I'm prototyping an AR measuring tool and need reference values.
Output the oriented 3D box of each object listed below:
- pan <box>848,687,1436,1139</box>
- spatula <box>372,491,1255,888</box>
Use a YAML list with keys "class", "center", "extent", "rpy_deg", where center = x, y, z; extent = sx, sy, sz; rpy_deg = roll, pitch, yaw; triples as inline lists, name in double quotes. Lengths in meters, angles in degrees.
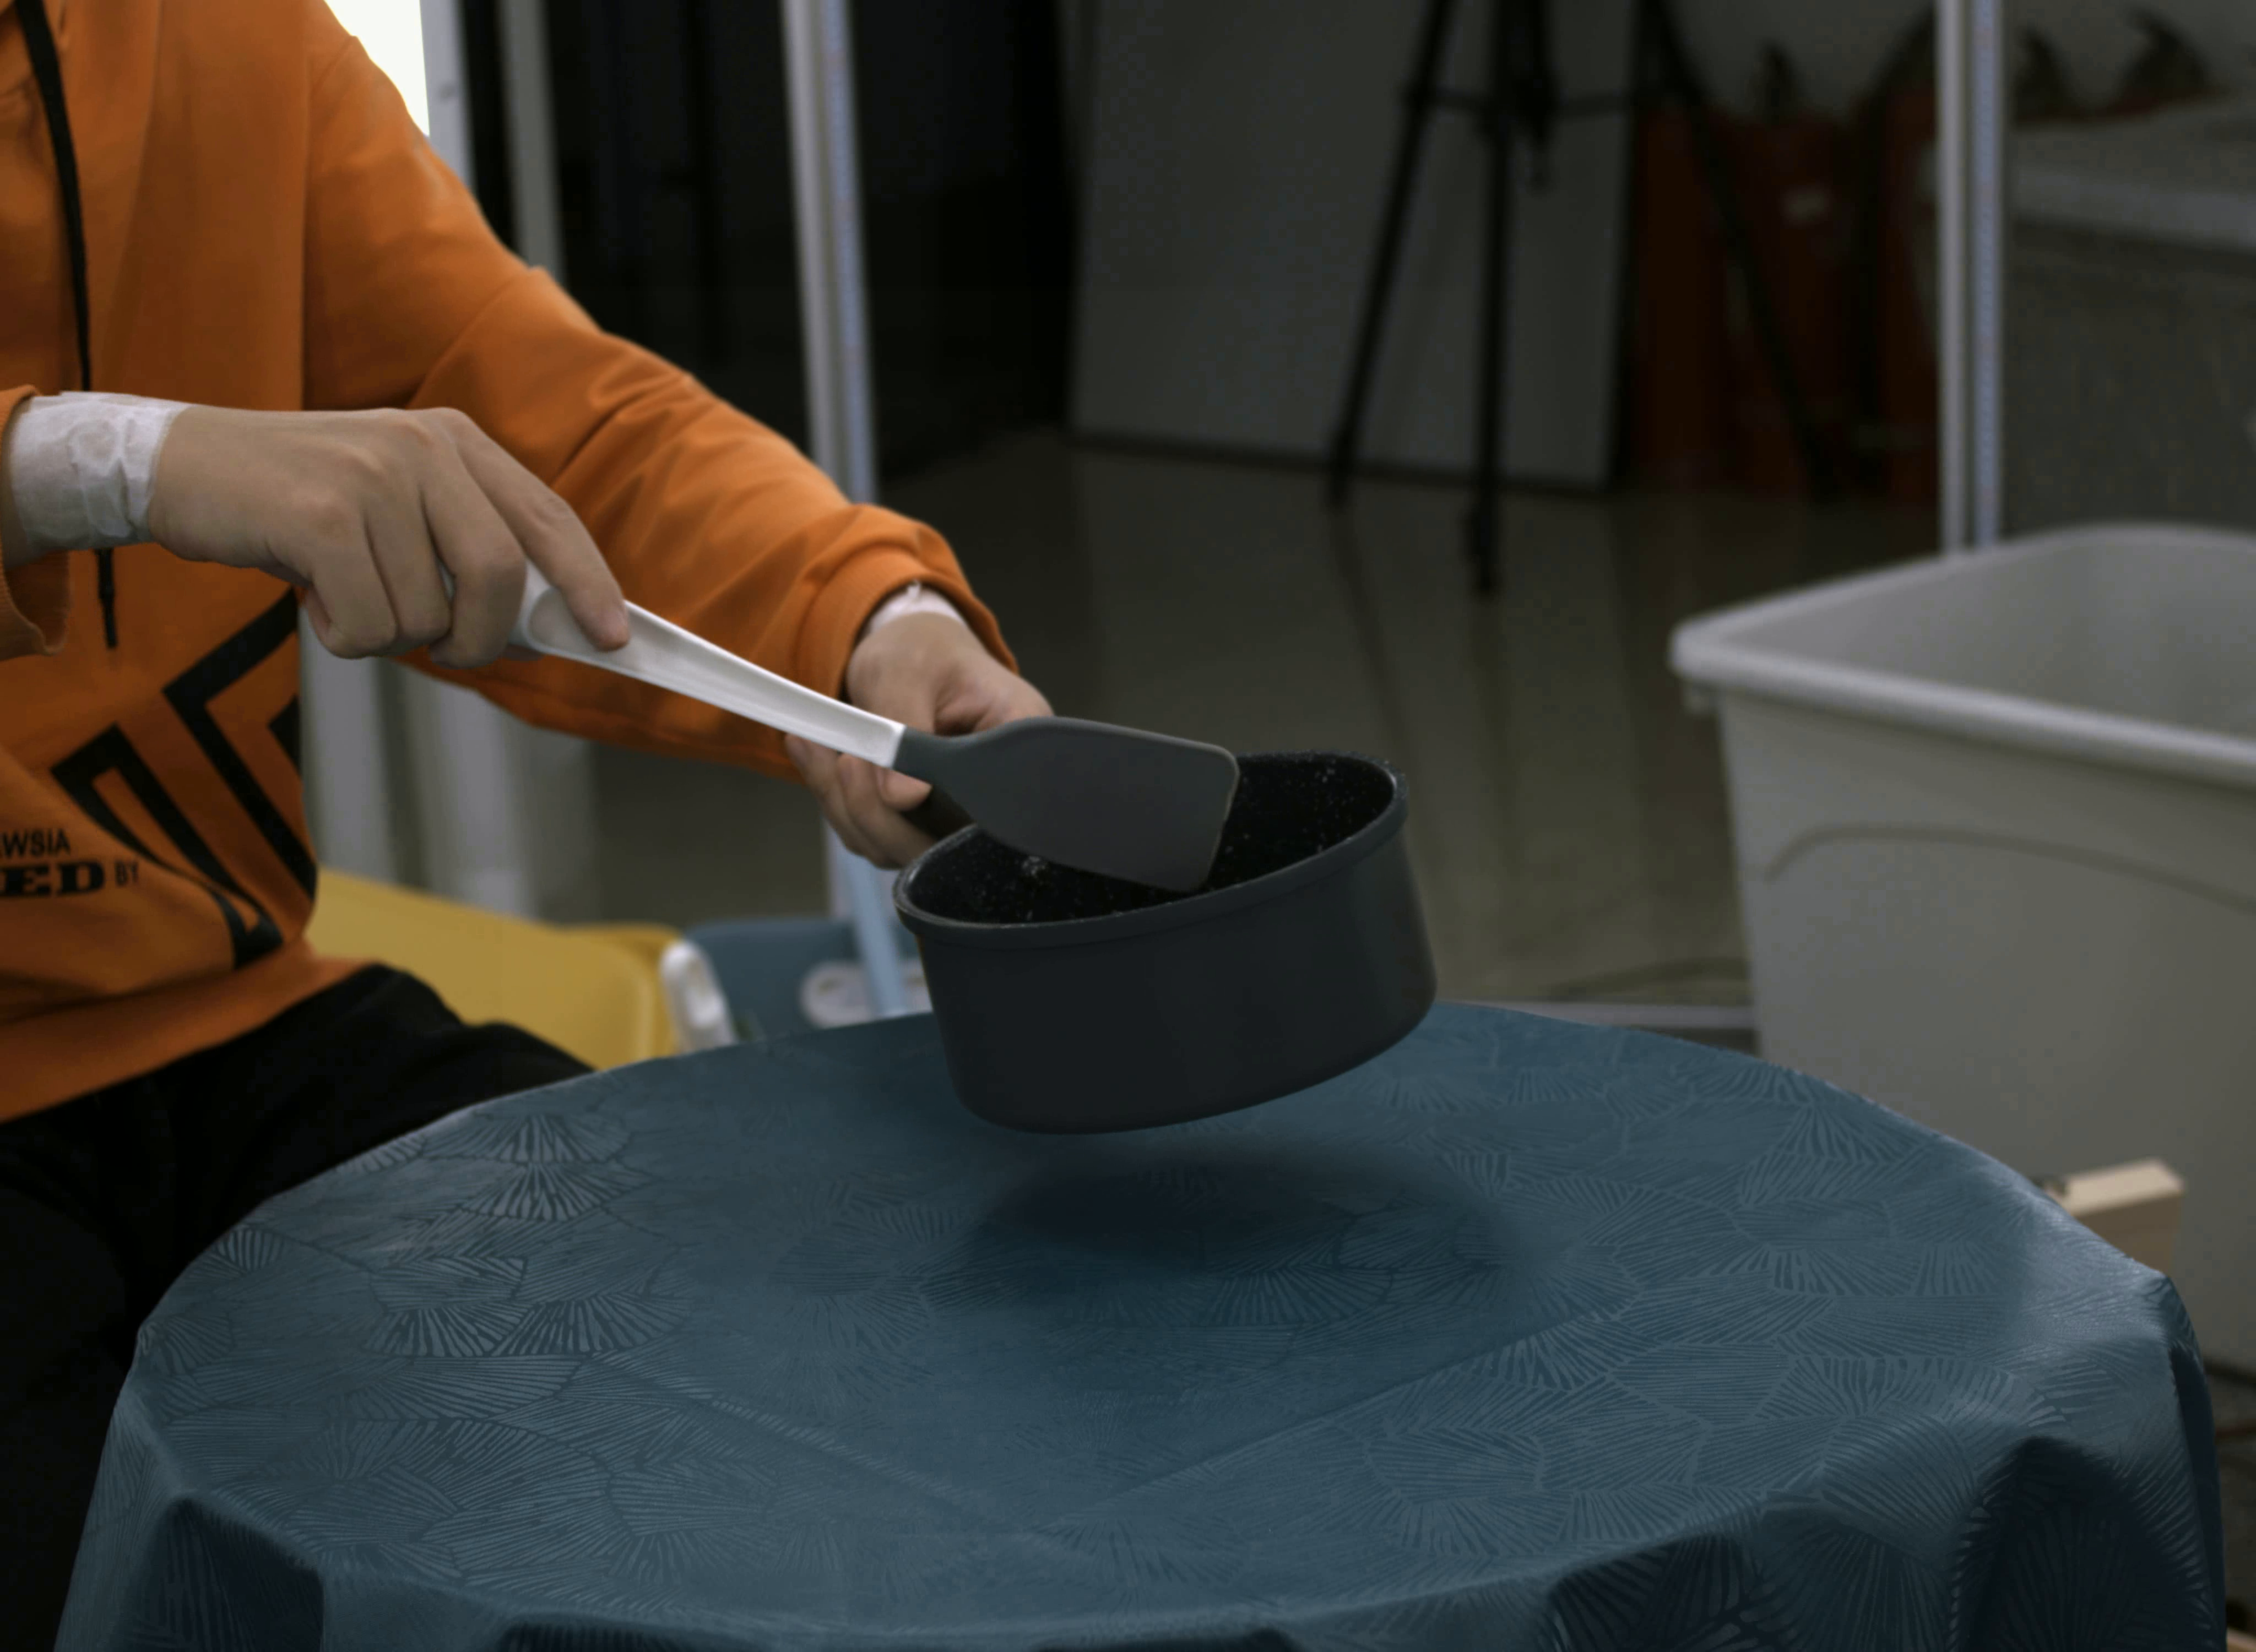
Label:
- class: "pan"
  center: [-0.019, 0.021, 1.812]
  extent: [0.169, 0.087, 0.332]
  rpy_deg: [-18, 16, -19]
- class: "spatula"
  center: [-0.100, -0.043, 1.704]
  extent: [0.285, 0.059, 0.032]
  rpy_deg: [19, 20, 5]
